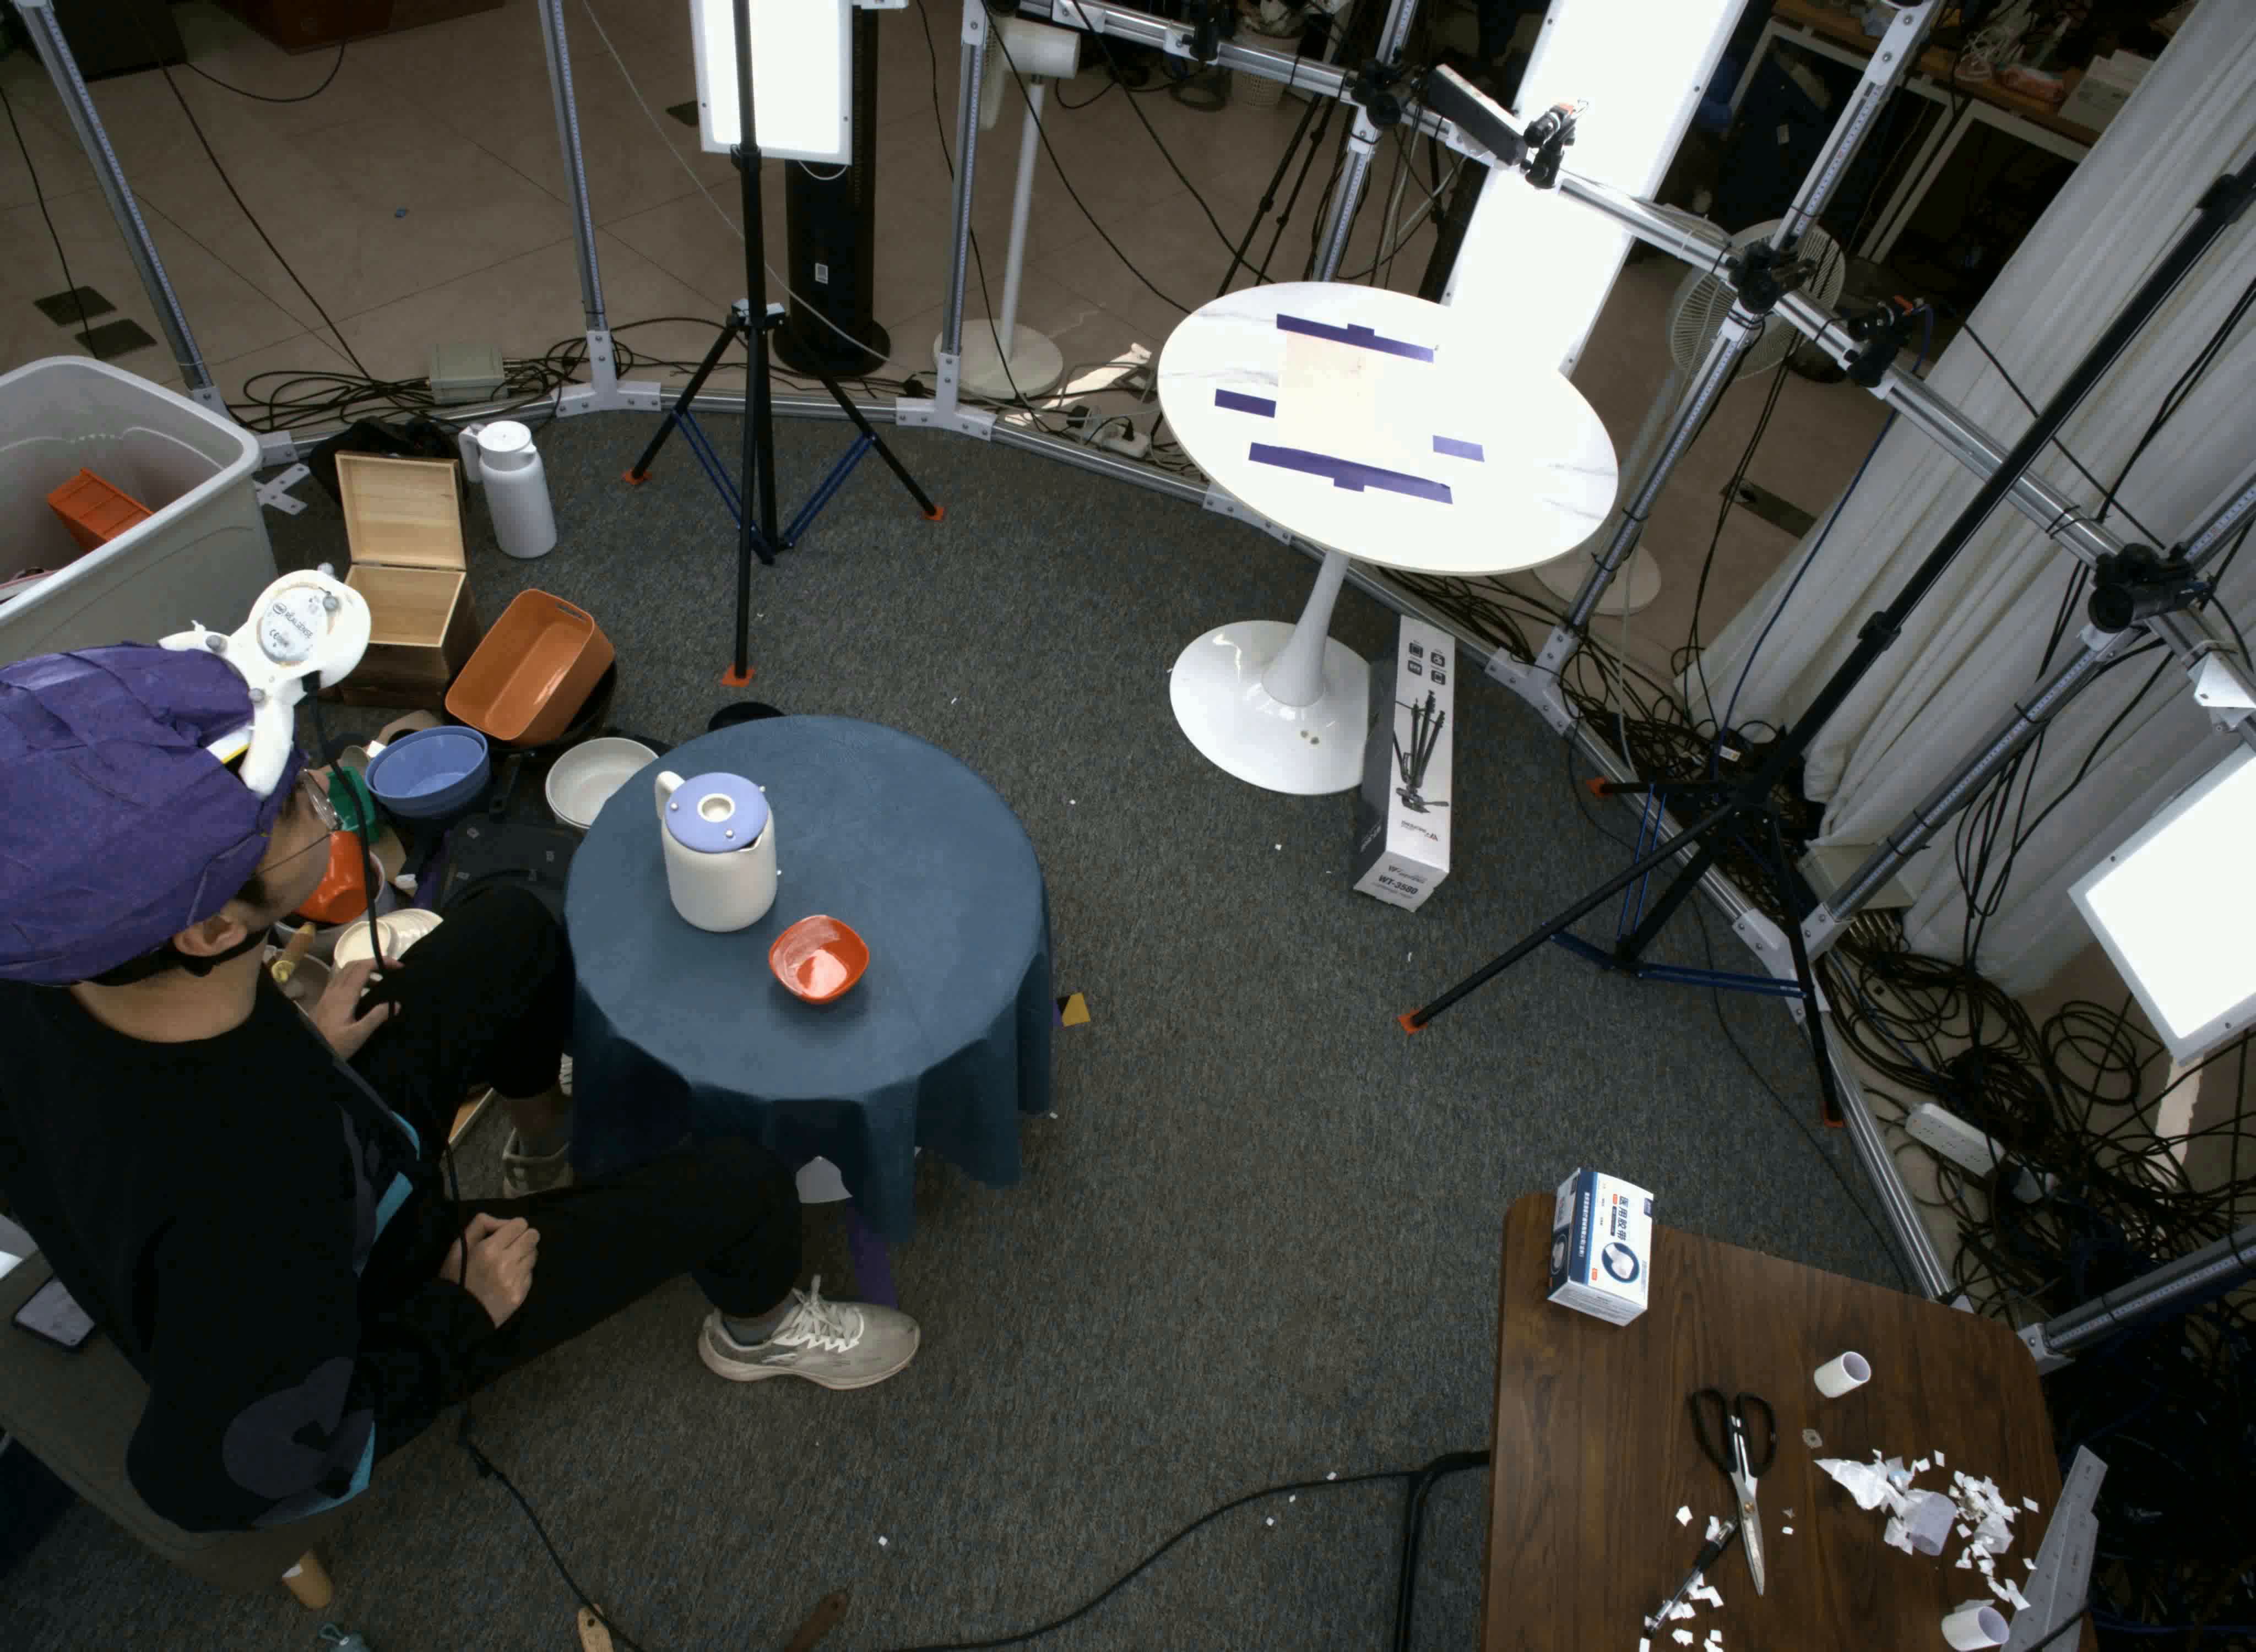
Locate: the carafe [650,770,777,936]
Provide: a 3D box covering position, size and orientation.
[{"bbox_3d":[-0.518,0.018,1.582,0.187,0.187,0.132,35,52,17],"label":"carafe"}]

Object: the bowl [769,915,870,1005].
[{"bbox_3d":[-0.377,0.170,1.582,0.119,0.052,0.117,10,51,-11],"label":"bowl"}]
